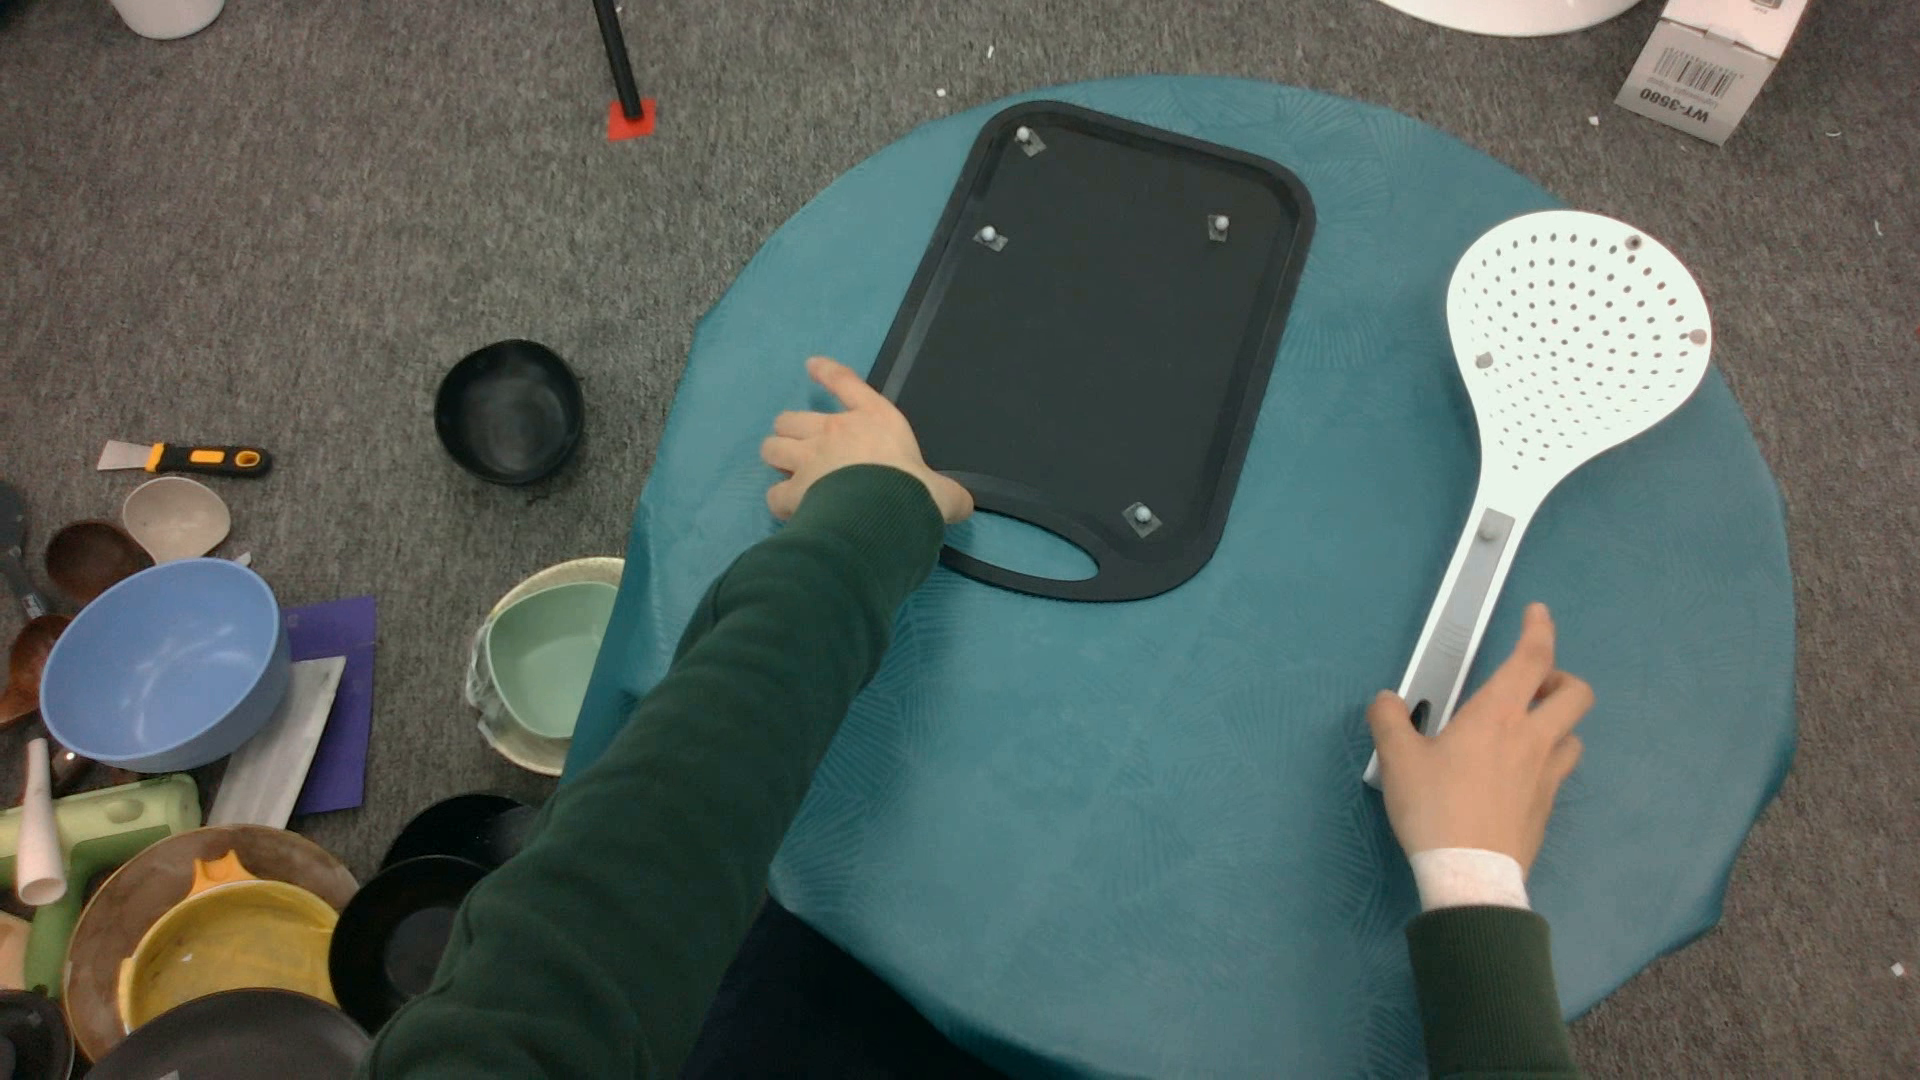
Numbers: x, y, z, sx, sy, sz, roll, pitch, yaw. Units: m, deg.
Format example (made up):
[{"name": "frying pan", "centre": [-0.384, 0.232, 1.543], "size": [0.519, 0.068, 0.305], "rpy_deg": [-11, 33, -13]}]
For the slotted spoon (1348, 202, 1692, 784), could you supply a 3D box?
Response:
[{"name": "slotted spoon", "centre": [0.275, -0.033, 0.712], "size": [0.136, 0.045, 0.351], "rpy_deg": [24, 66, 13]}]

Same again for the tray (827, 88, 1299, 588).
[{"name": "tray", "centre": [0.062, -0.122, 0.771], "size": [0.211, 0.010, 0.327], "rpy_deg": [18, 64, 7]}]
